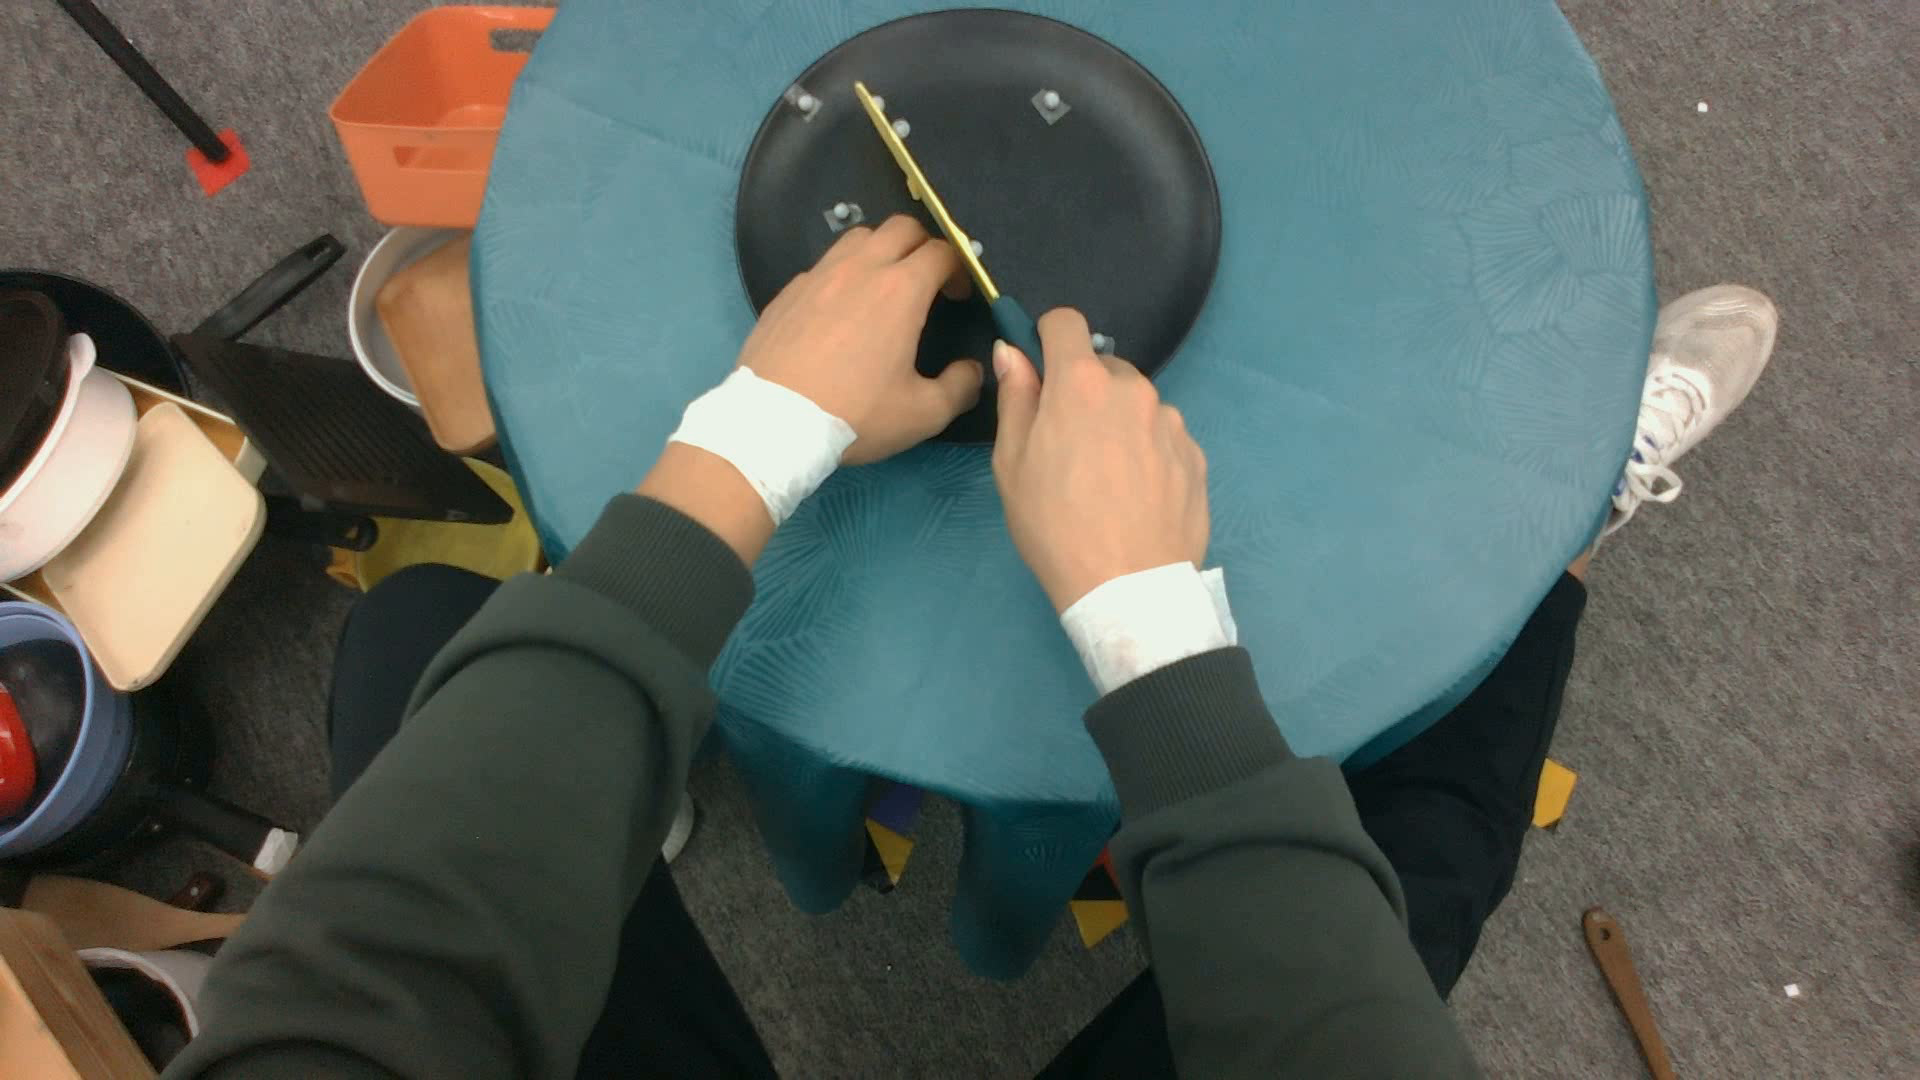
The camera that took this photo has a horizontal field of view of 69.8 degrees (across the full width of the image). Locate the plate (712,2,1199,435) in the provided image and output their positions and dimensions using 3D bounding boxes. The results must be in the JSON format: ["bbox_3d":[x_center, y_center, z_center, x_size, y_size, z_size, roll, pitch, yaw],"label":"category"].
[{"bbox_3d":[-0.002,-0.164,0.696,0.244,0.023,0.245,0,73,-1],"label":"plate"}]

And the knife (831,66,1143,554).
[{"bbox_3d":[0.006,-0.114,0.644,0.027,0.081,0.290,-31,72,5],"label":"knife"}]
